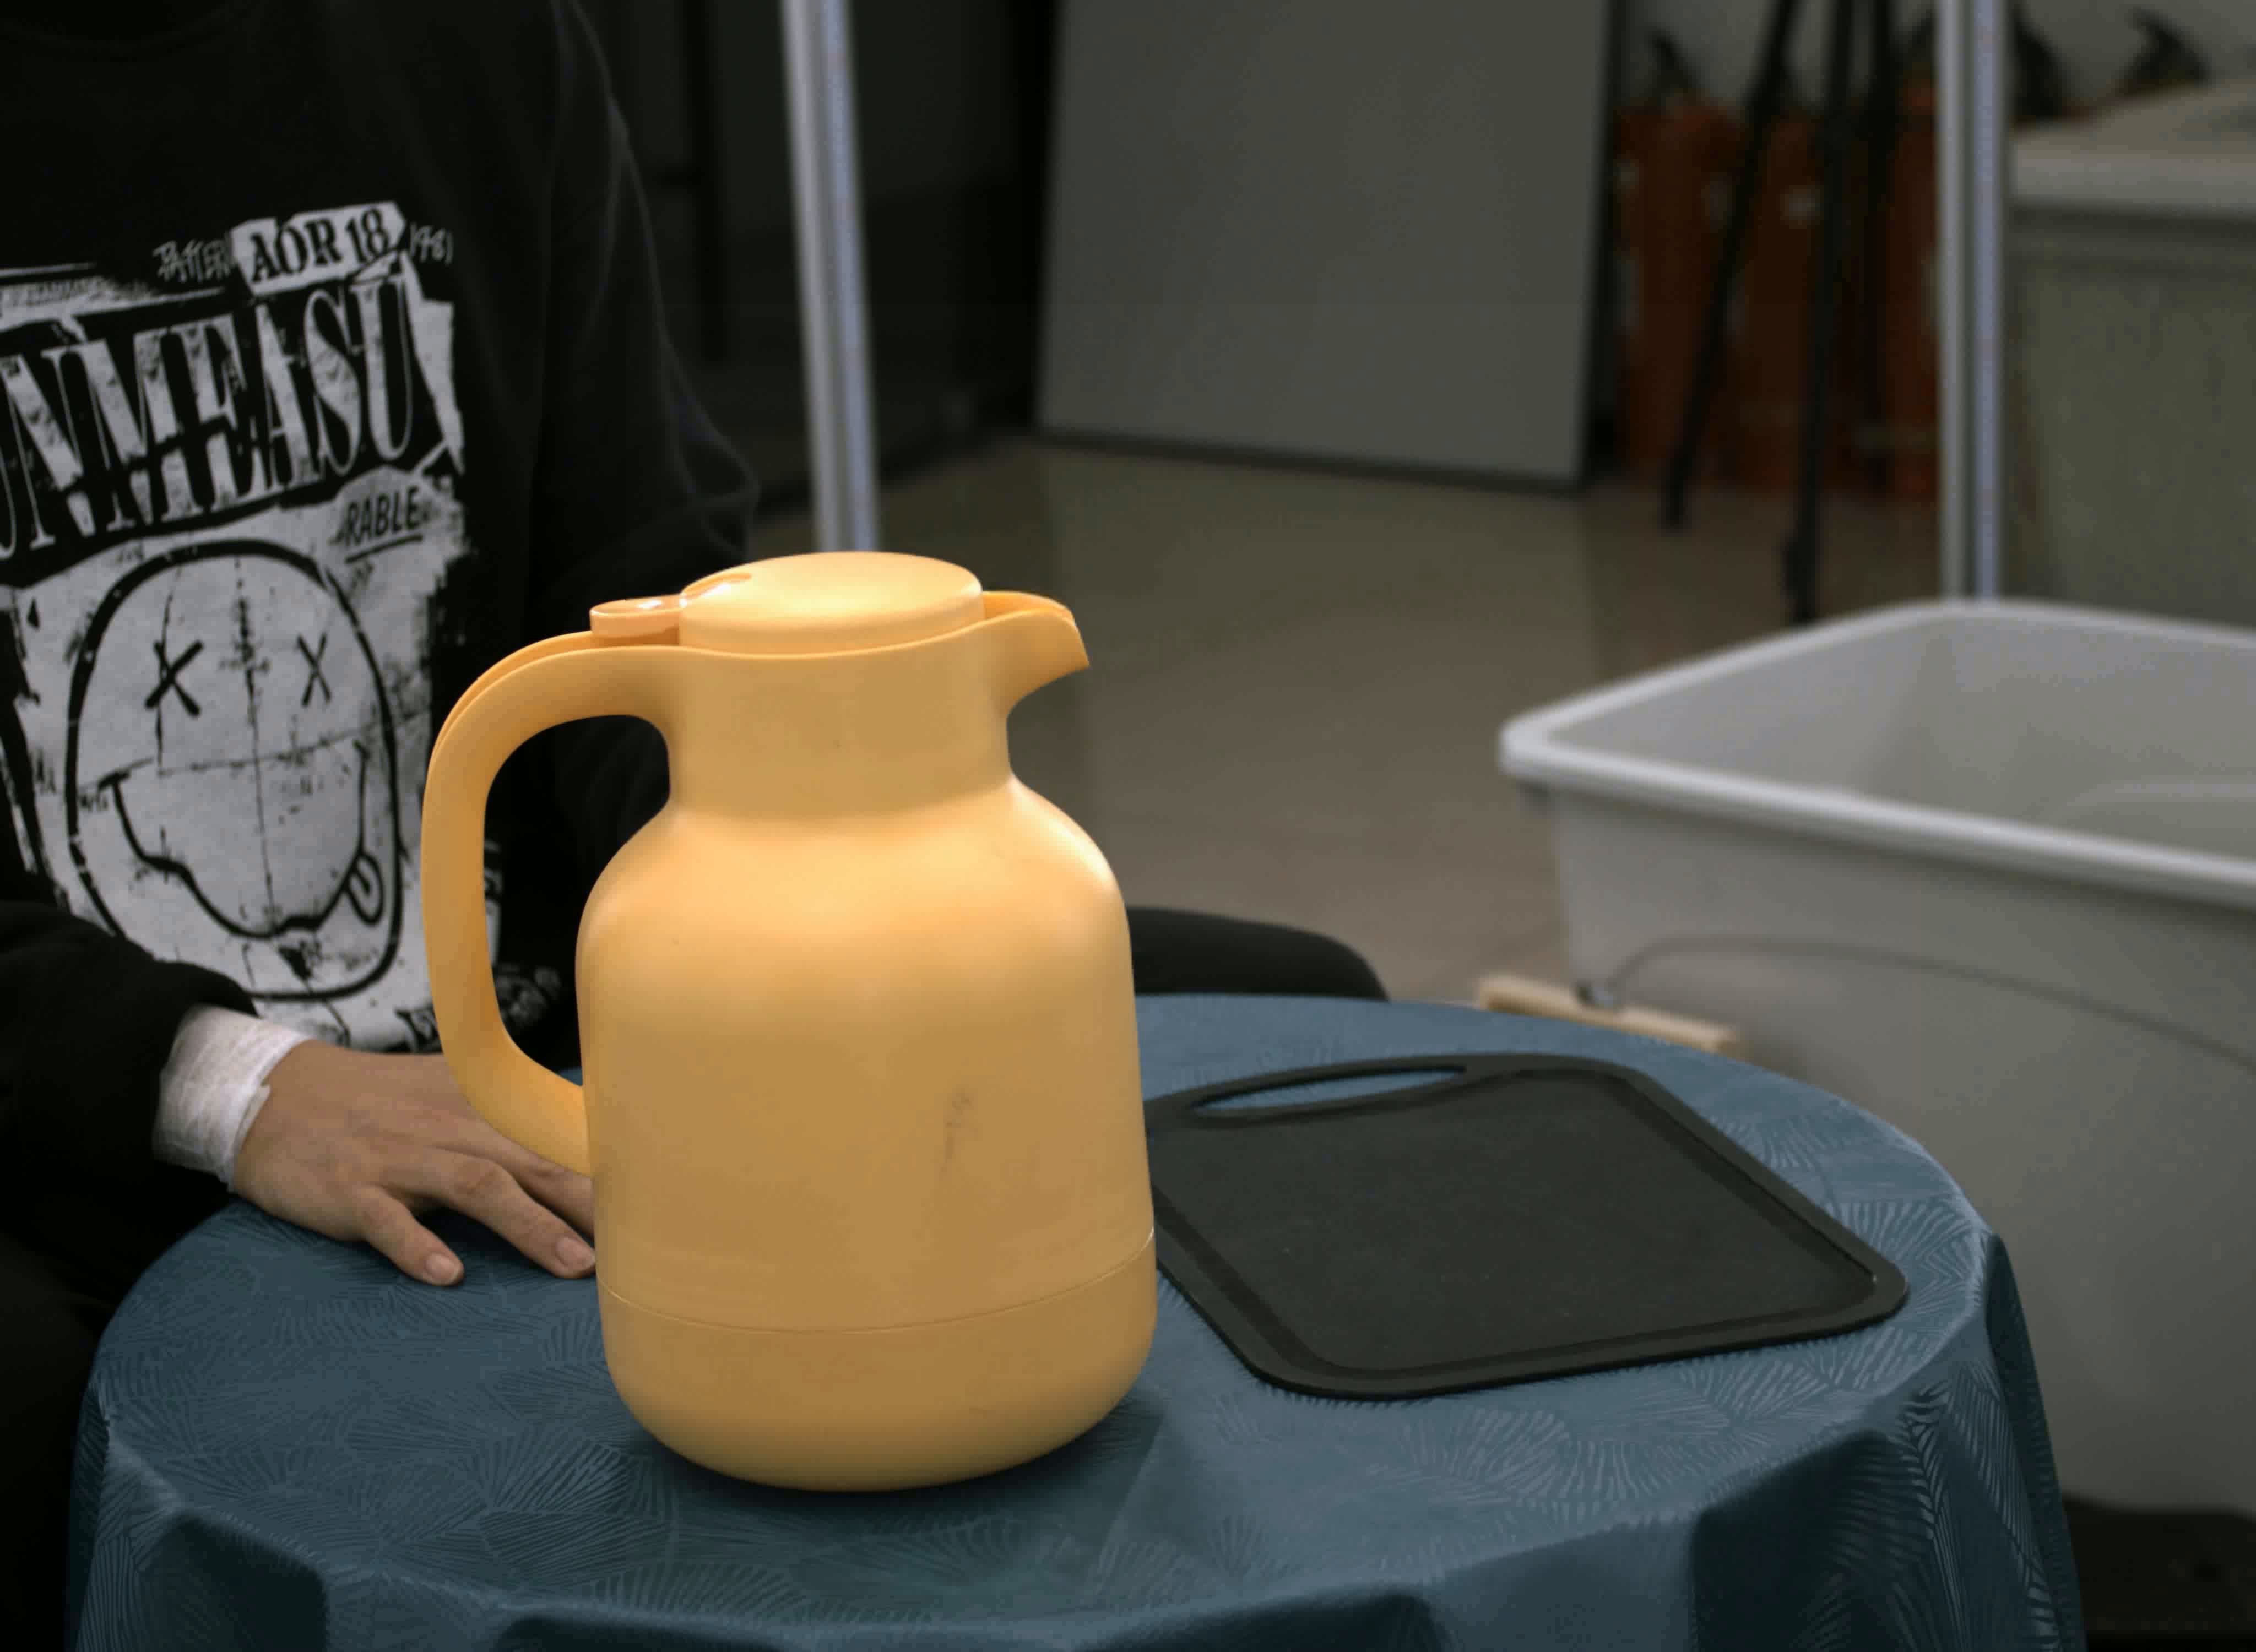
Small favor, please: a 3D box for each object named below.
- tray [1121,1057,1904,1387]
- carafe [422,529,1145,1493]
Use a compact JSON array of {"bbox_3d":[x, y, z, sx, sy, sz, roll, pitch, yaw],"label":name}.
[{"bbox_3d":[0.105,0.120,1.731,0.207,0.010,0.328,-7,14,-12],"label":"tray"},{"bbox_3d":[-0.098,0.049,1.544,0.199,0.263,0.164,-3,11,-1],"label":"carafe"}]
